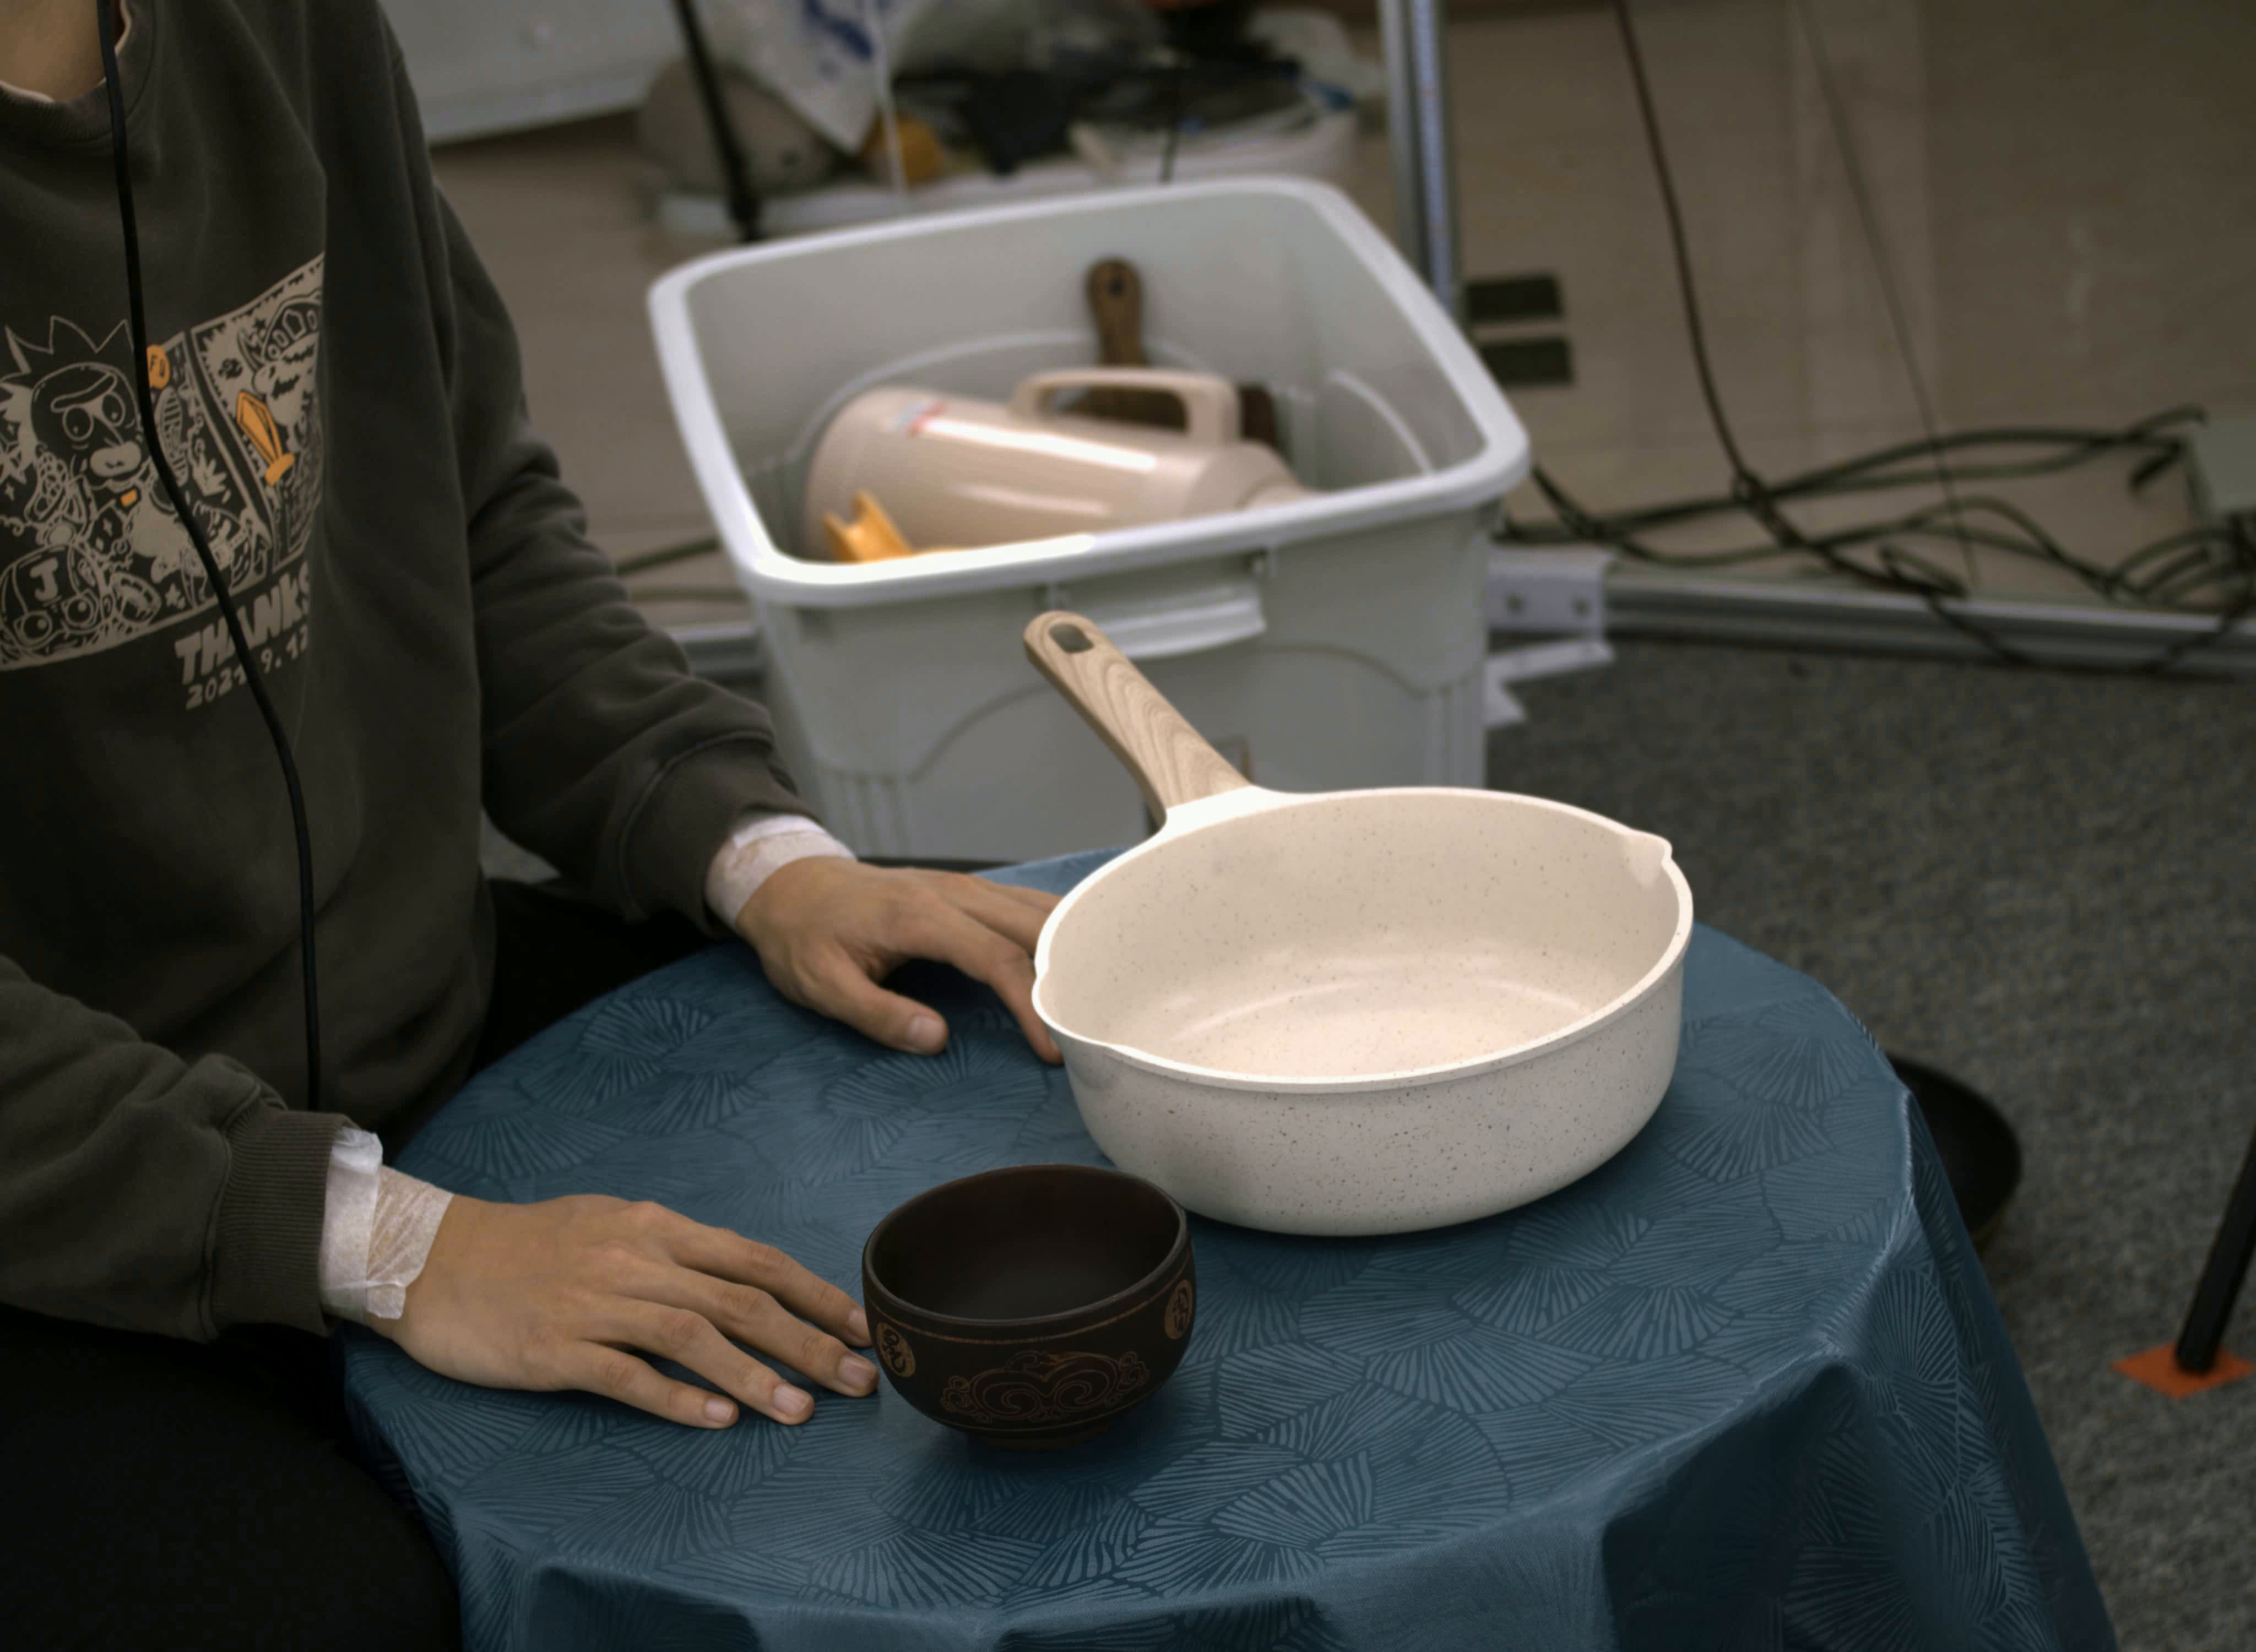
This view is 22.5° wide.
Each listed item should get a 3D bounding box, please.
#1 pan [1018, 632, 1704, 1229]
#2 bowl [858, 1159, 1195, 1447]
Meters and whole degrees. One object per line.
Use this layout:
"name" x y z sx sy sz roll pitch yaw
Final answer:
"pan" 0.060 0.035 2.238 0.262 0.103 0.429 -18 26 -18
"bowl" -0.033 0.174 1.994 0.118 0.071 0.116 -7 25 3
